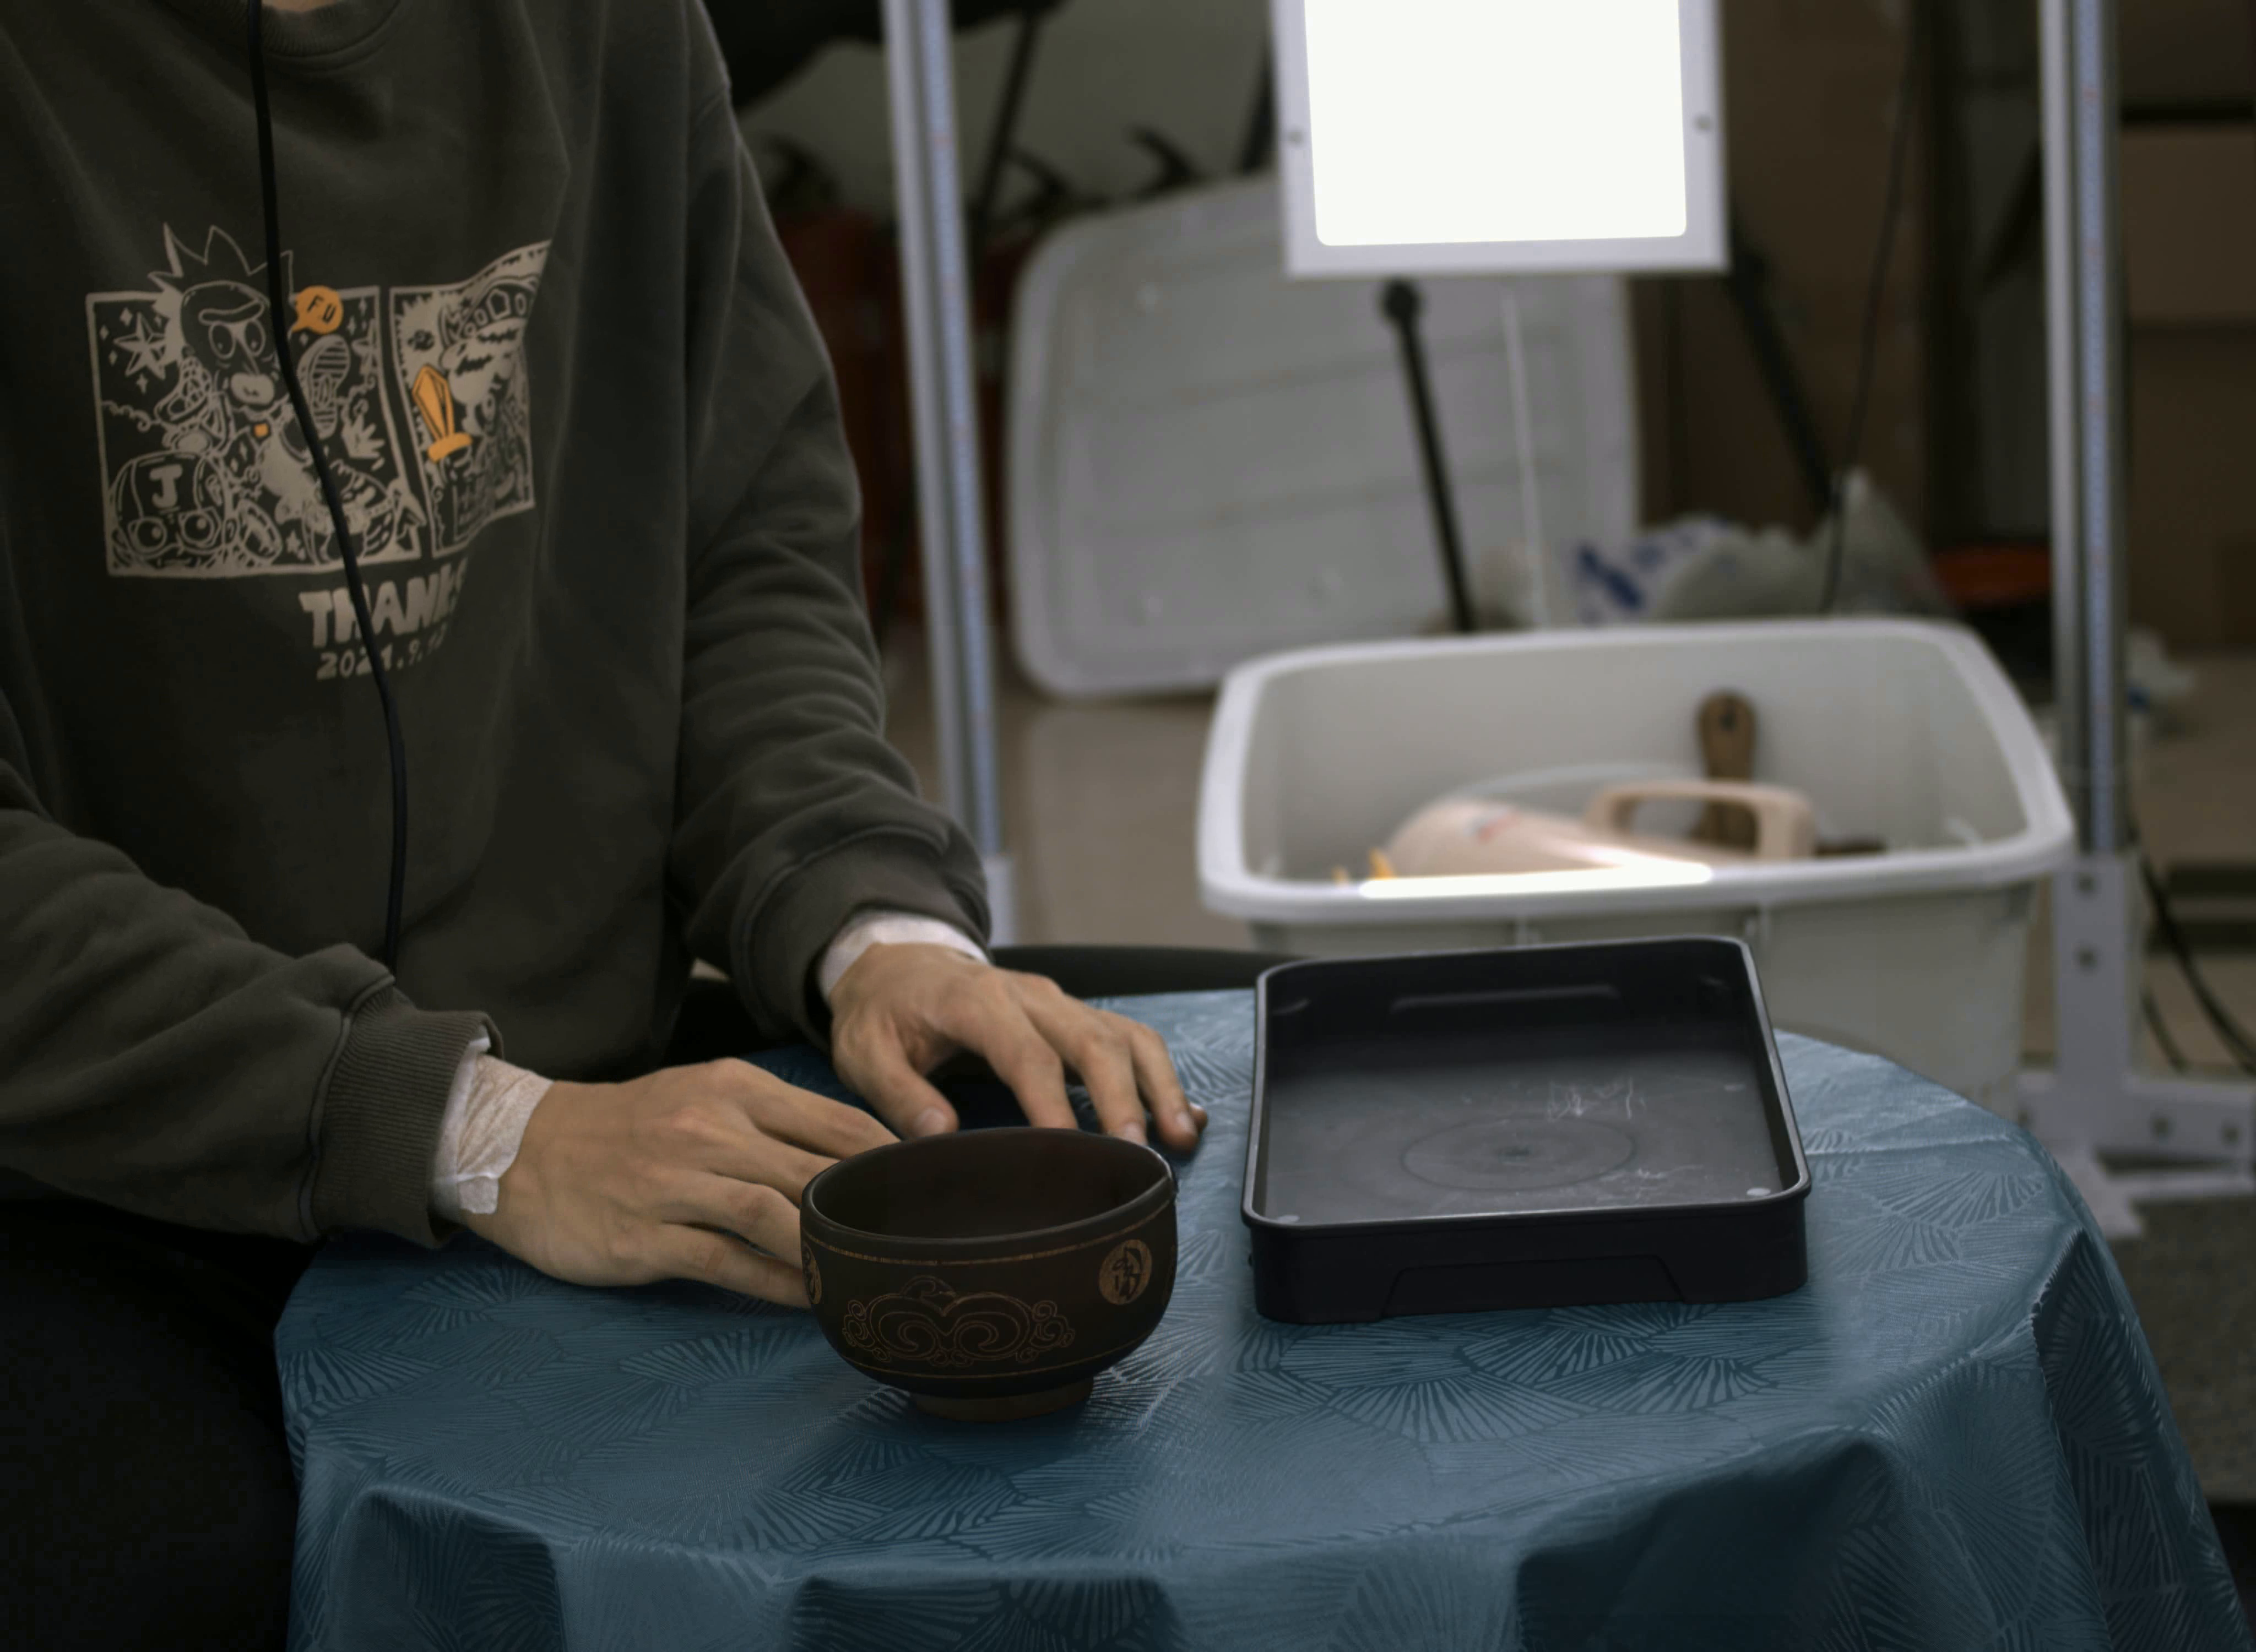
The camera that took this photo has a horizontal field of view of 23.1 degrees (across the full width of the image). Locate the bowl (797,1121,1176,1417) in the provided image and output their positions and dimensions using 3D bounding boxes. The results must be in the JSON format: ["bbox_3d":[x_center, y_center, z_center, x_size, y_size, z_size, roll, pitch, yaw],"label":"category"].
[{"bbox_3d":[-0.042,0.141,1.704,0.118,0.070,0.118,-6,13,0],"label":"bowl"}]

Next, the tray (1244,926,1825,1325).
[{"bbox_3d":[0.134,0.098,1.889,0.184,0.037,0.317,-5,14,3],"label":"tray"}]
